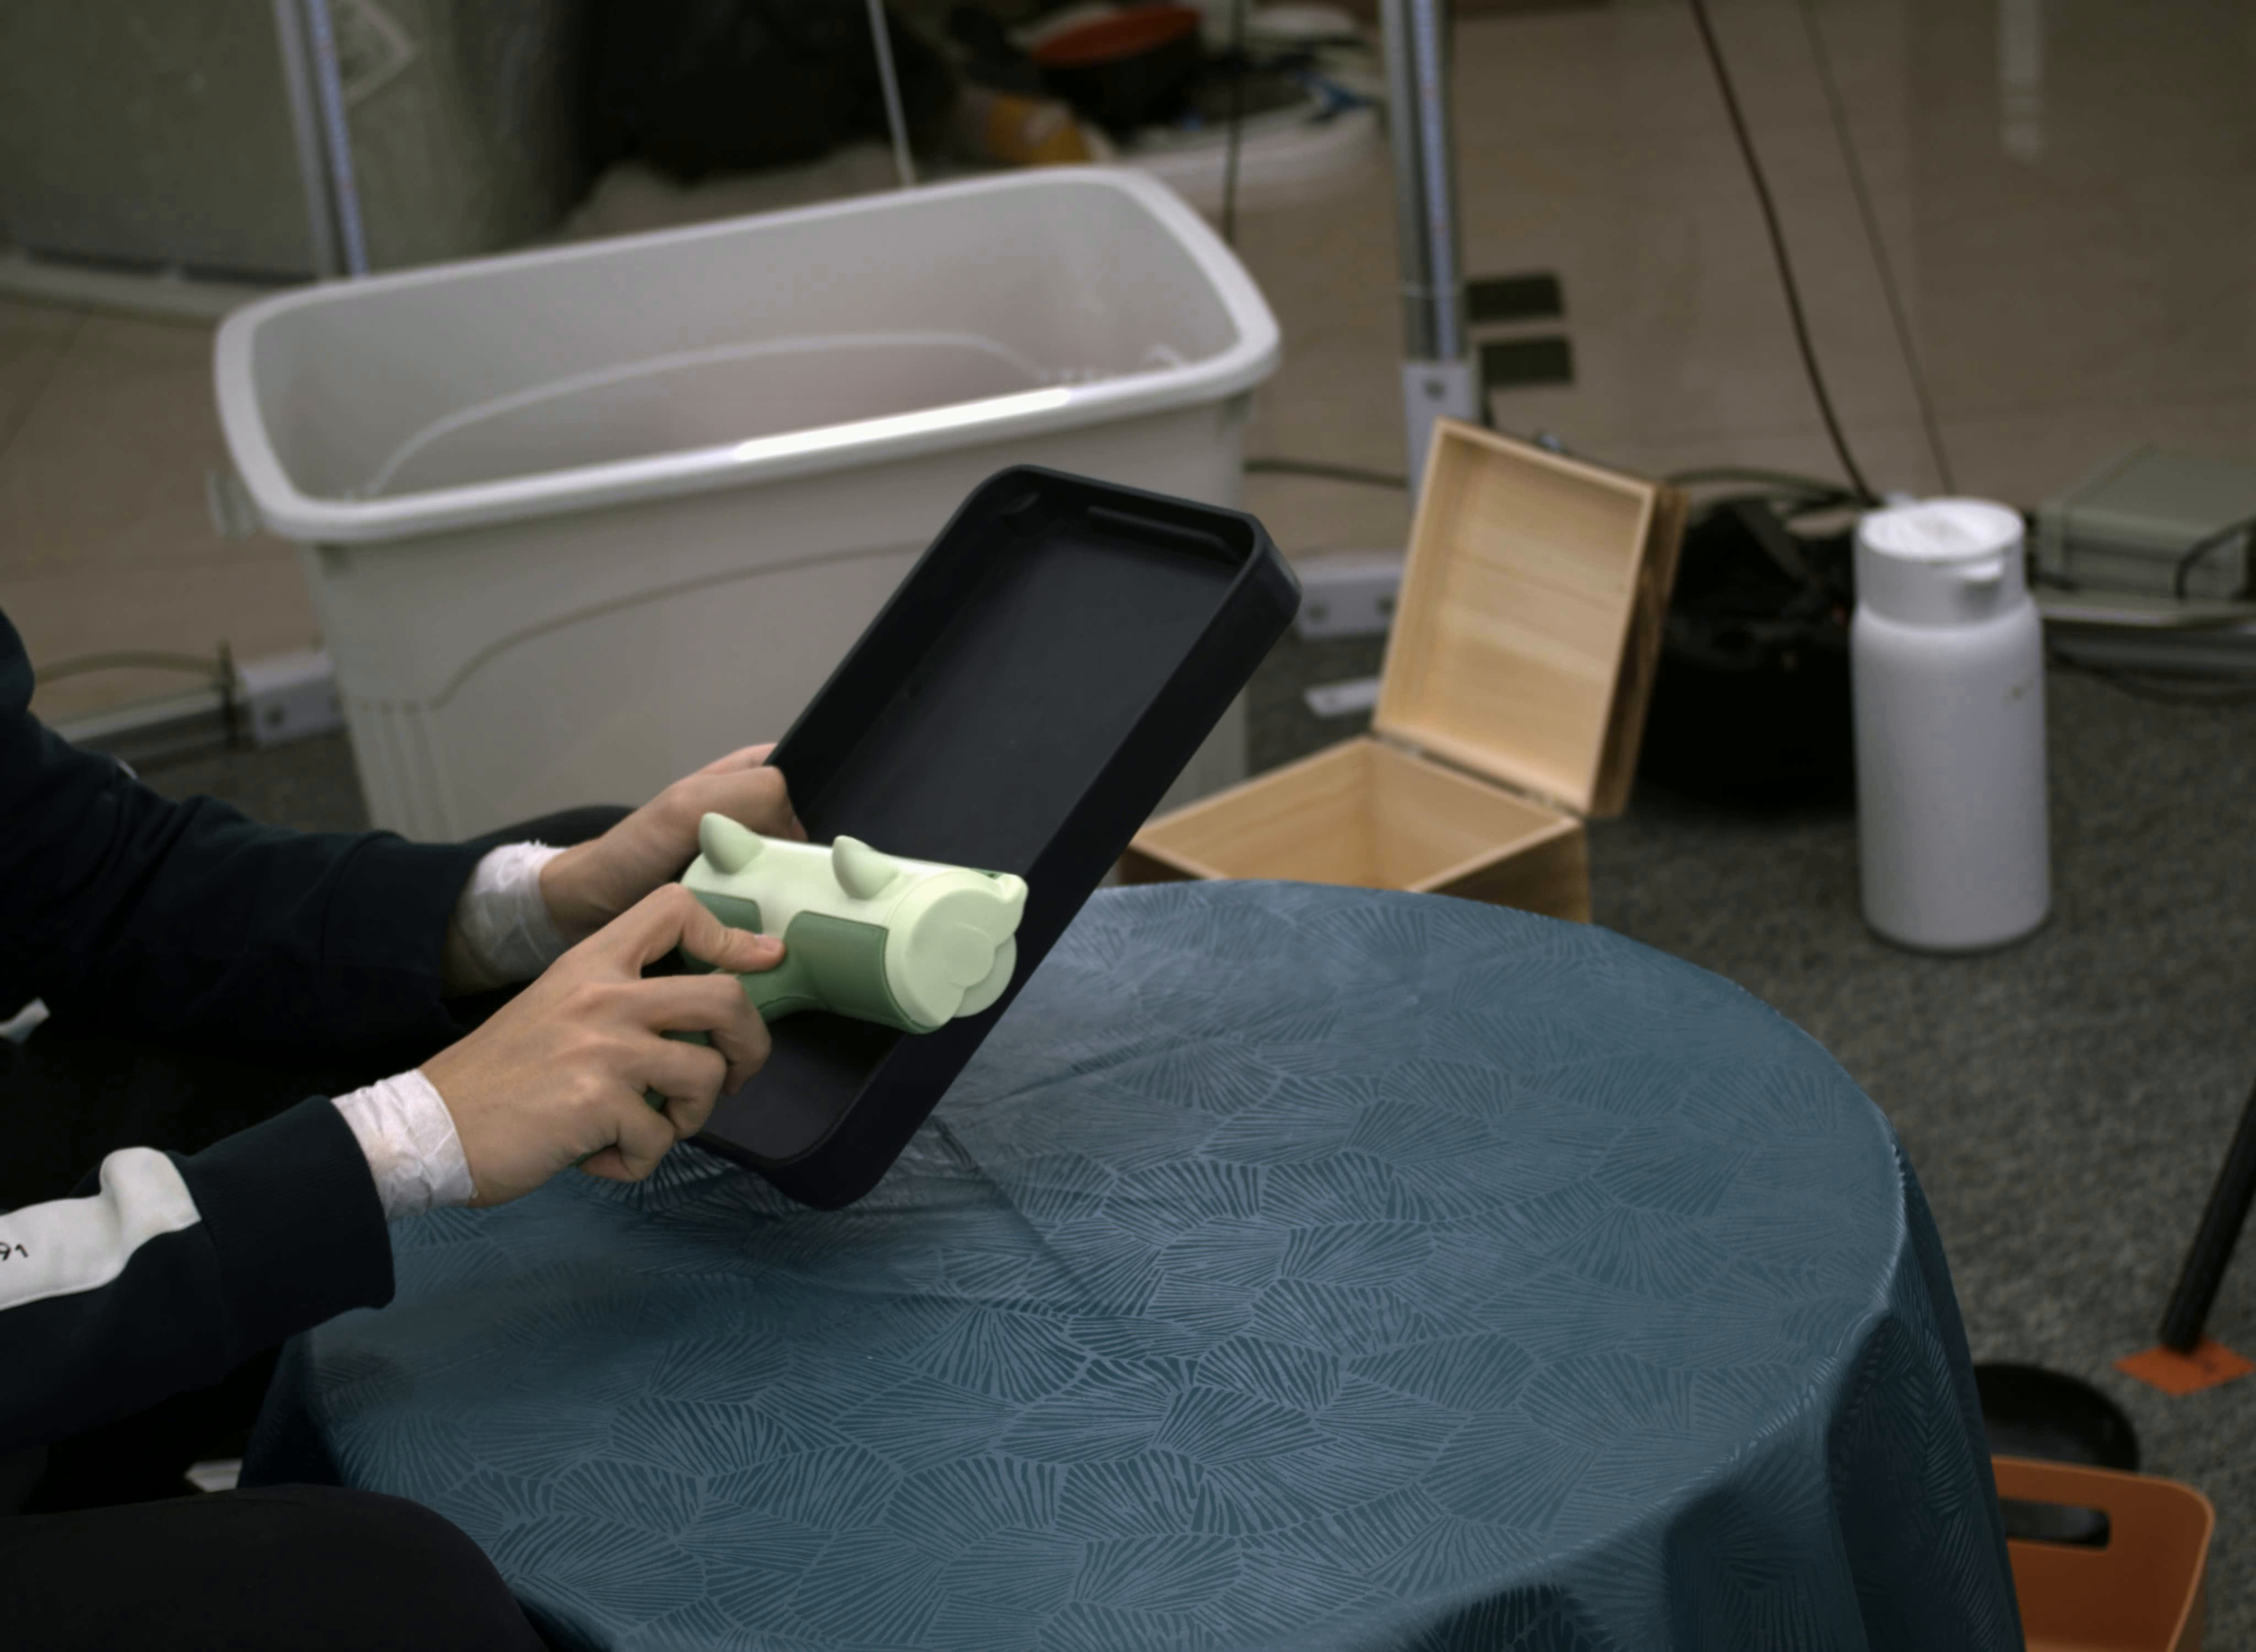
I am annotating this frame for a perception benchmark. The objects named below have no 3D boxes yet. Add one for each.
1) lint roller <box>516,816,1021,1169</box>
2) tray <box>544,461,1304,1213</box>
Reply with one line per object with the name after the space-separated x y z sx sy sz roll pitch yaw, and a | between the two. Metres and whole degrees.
-0.156 0.055 2.091 0.182 0.083 0.198 -26 16 -25 | lint roller
-0.078 -0.001 2.182 0.183 0.037 0.316 19 67 49 | tray
